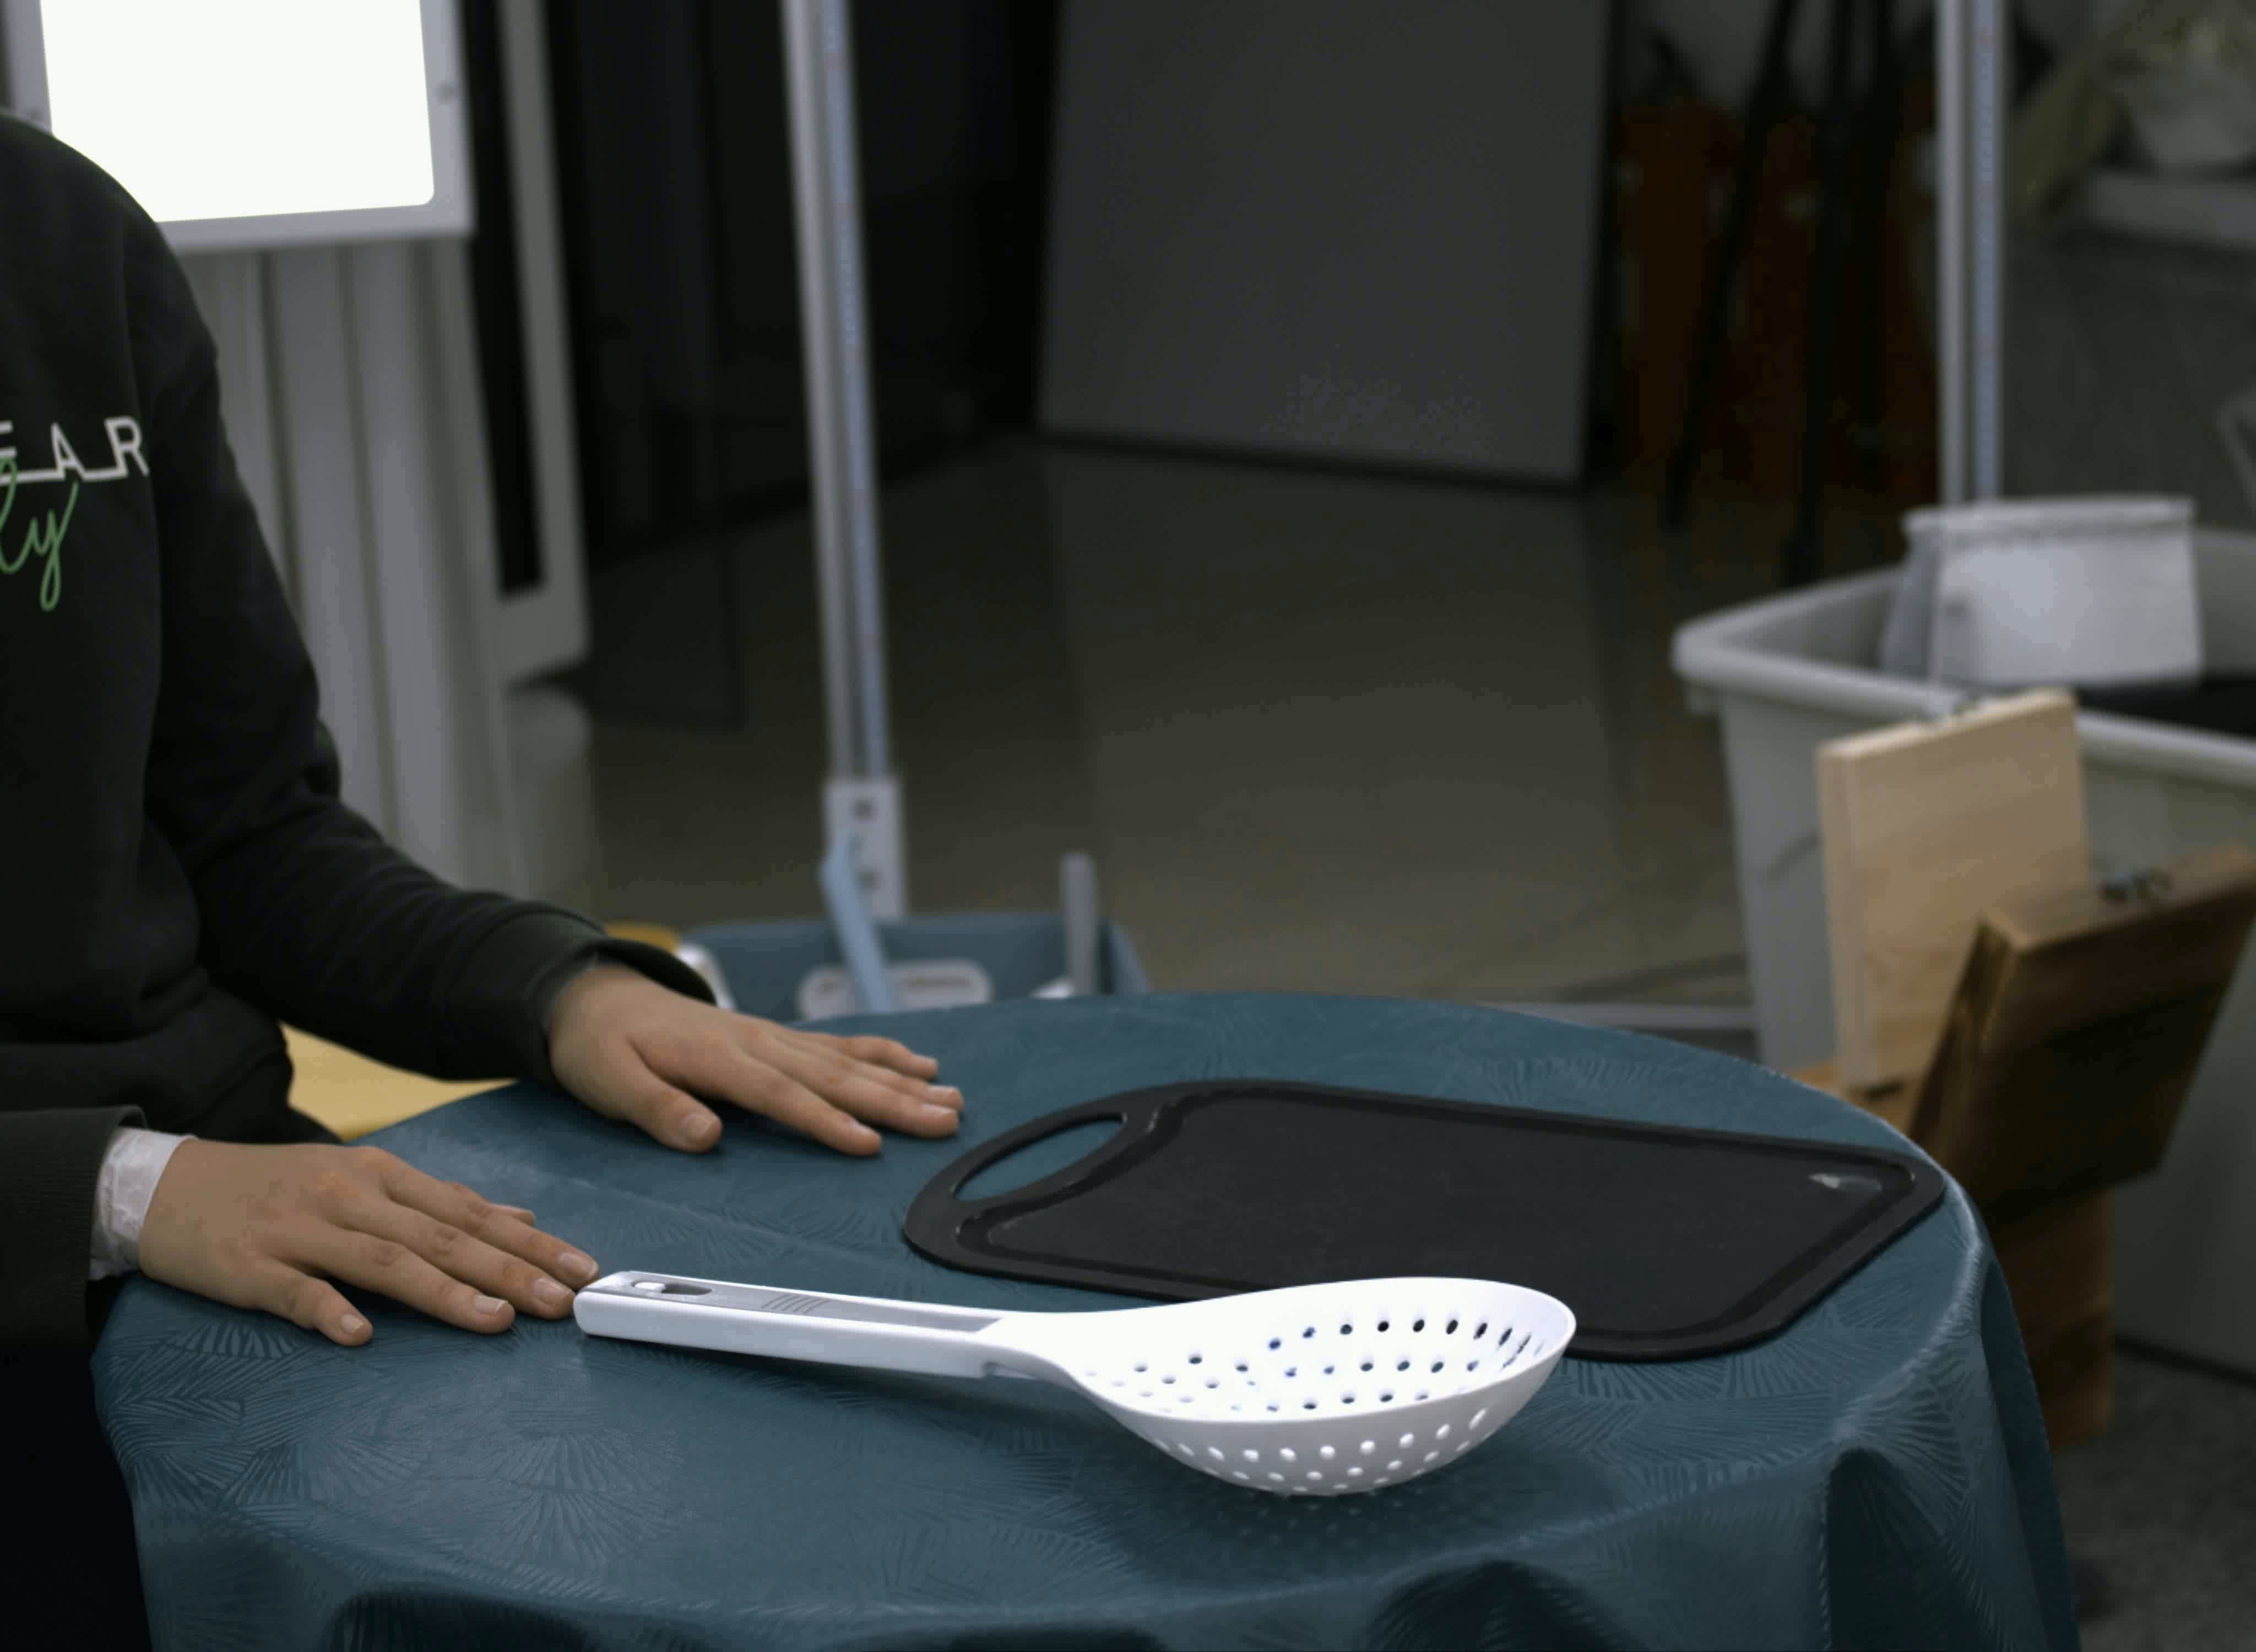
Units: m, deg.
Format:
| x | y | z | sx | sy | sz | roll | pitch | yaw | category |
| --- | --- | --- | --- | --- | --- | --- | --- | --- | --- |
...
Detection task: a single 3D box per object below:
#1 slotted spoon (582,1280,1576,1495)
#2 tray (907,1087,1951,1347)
| x | y | z | sx | sy | sz | roll | pitch | yaw | category |
| --- | --- | --- | --- | --- | --- | --- | --- | --- | --- |
| -0.026 | 0.151 | 1.564 | 0.352 | 0.046 | 0.133 | 6 | 15 | 38 | slotted spoon |
| 0.089 | 0.121 | 1.731 | 0.327 | 0.010 | 0.208 | 4 | 16 | 32 | tray |
